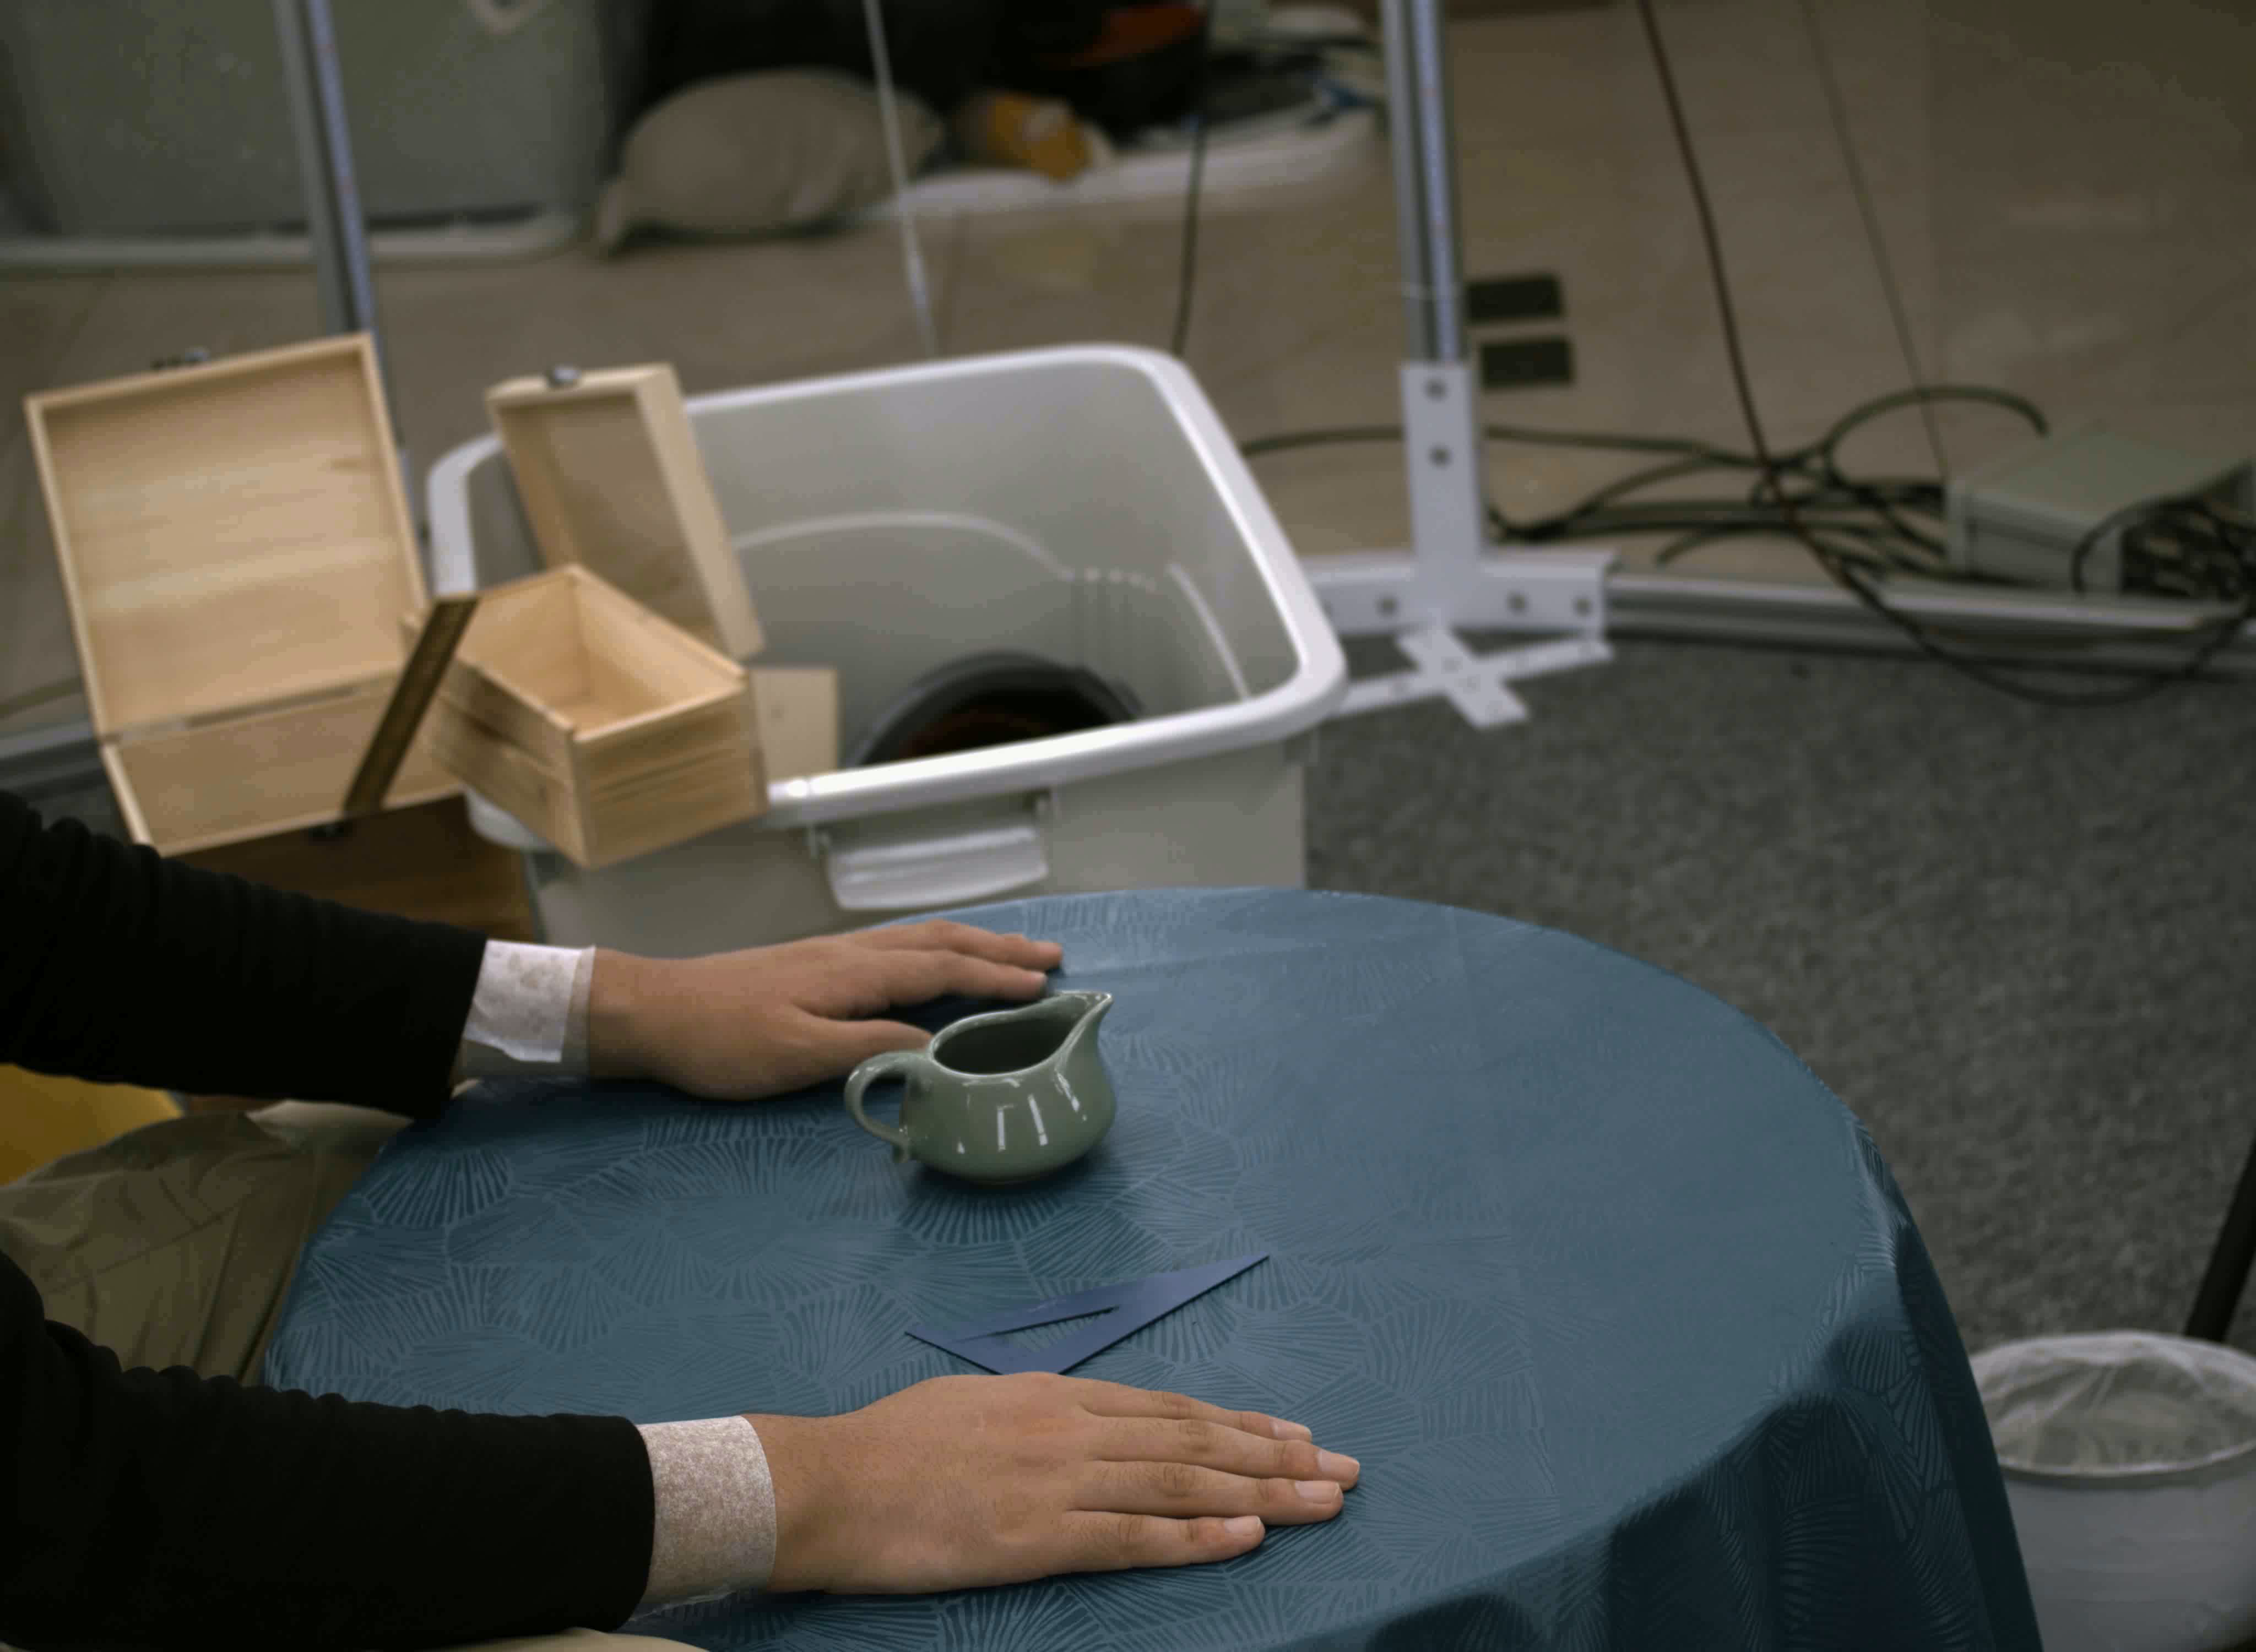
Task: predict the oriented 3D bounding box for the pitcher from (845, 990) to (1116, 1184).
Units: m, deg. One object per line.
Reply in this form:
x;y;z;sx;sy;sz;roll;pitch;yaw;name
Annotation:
-0.054;0.103;2.172;0.112;0.057;0.083;-16;25;-20;pitcher

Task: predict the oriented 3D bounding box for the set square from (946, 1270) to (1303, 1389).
0.002;0.182;2.051;0.132;0.006;0.060;-9;24;-6;set square
